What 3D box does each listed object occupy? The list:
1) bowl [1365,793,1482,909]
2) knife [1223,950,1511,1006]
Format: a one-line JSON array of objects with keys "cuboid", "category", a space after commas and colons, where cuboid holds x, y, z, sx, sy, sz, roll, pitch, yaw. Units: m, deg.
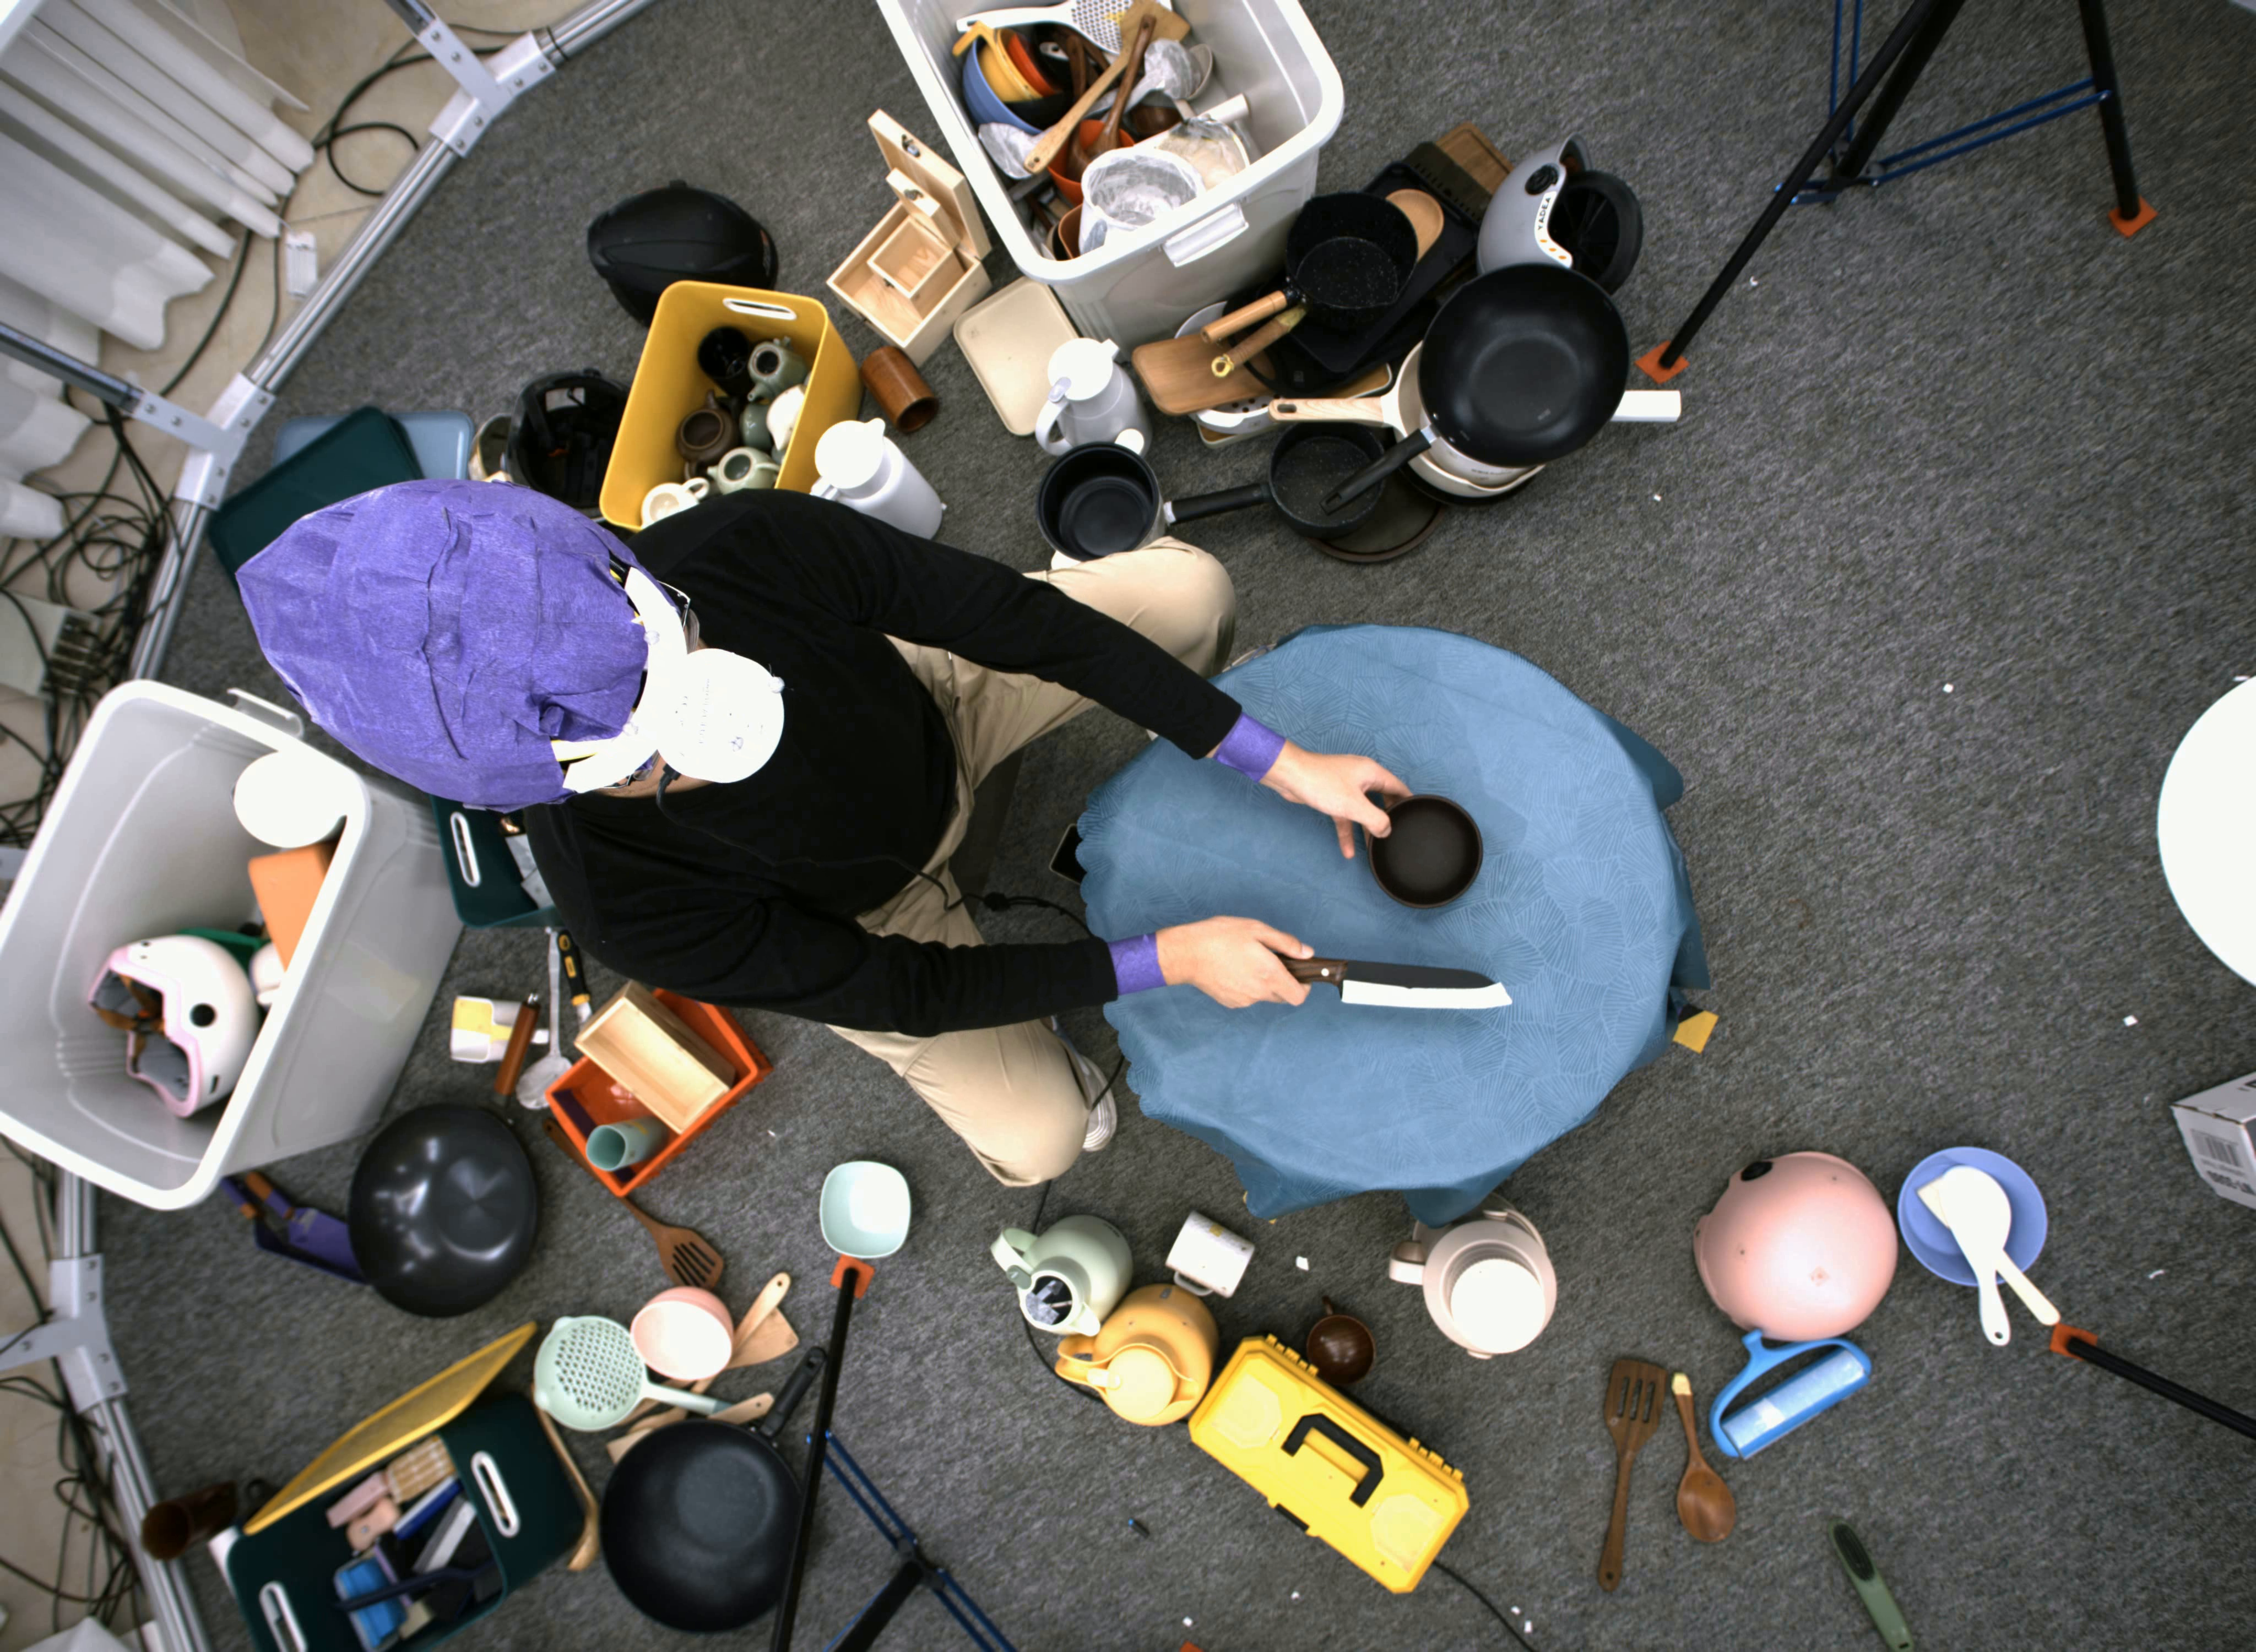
[{"cuboid": [0.305, 0.023, 1.418, 0.118, 0.069, 0.118, 1, 94, 15], "category": "bowl"}, {"cuboid": [0.238, 0.152, 1.390, 0.290, 0.019, 0.051, 6, 107, 12], "category": "knife"}]
